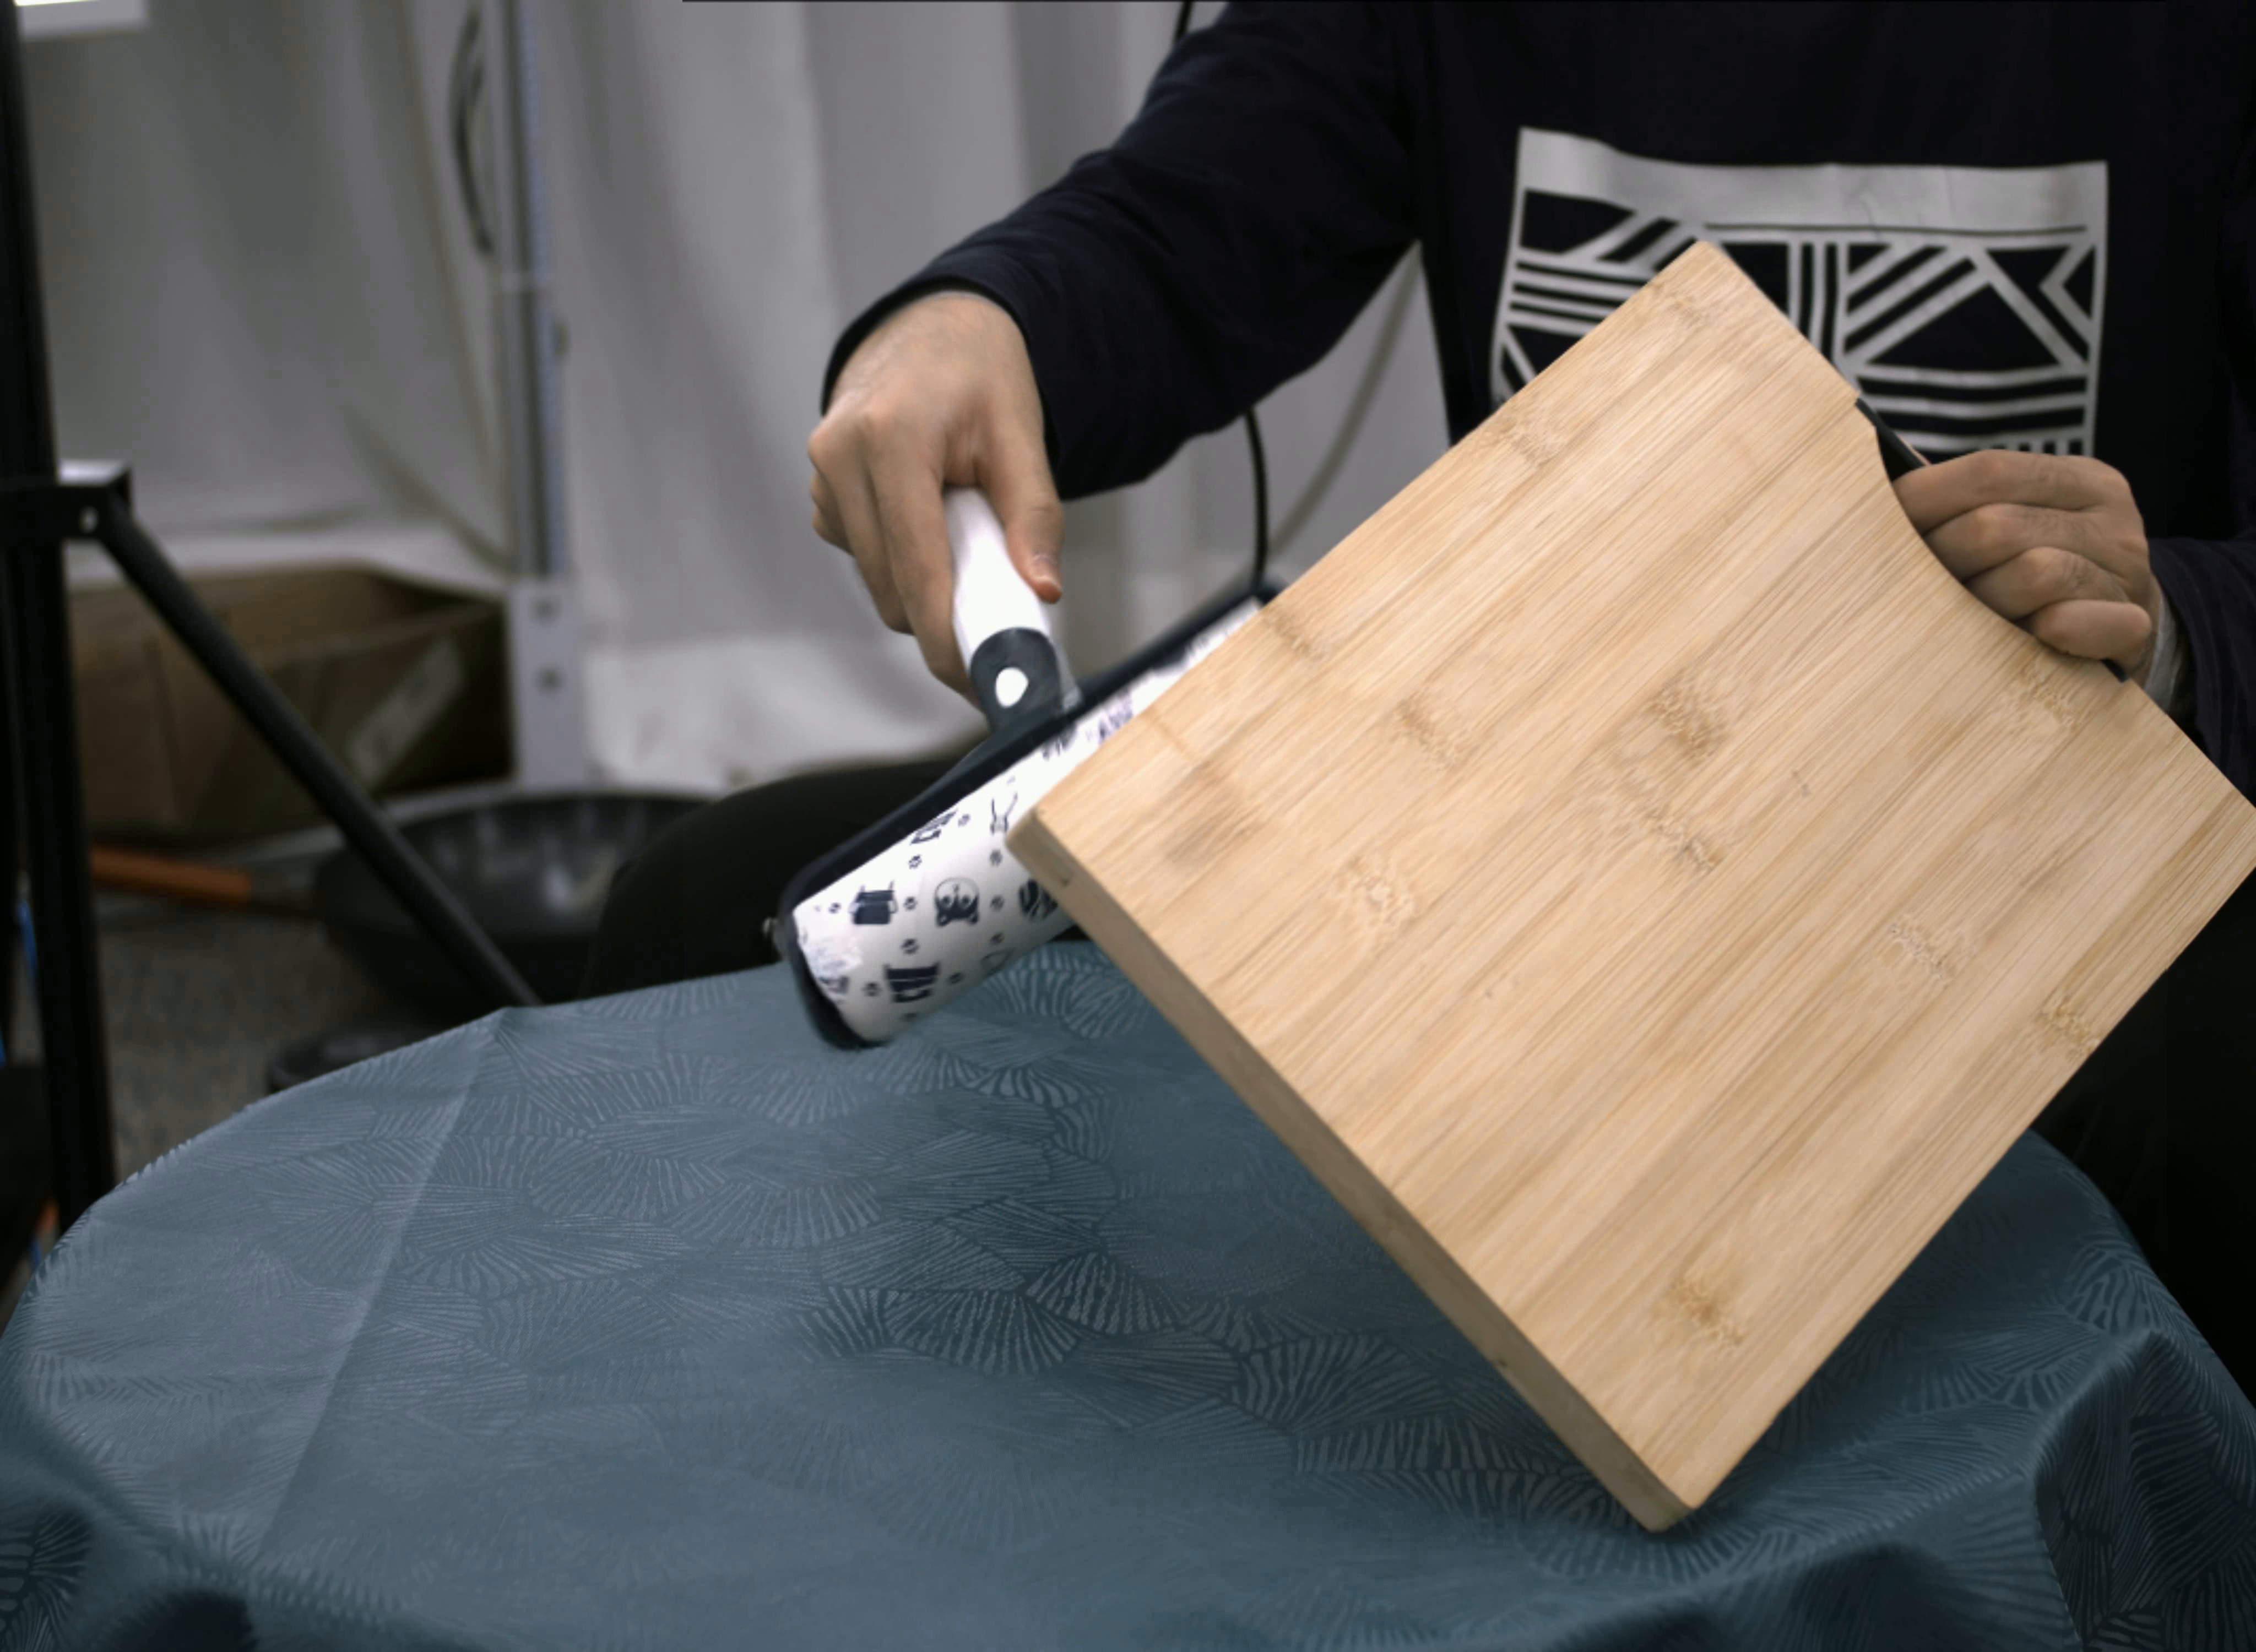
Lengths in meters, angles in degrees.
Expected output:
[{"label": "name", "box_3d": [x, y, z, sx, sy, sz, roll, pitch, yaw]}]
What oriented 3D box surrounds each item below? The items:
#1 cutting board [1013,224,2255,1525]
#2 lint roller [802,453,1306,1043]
[{"label": "cutting board", "box_3d": [0.151, 0.000, 1.420, 0.344, 0.251, 0.024, -41, -5, -41]}, {"label": "lint roller", "box_3d": [-0.035, -0.054, 1.567, 0.177, 0.049, 0.250, -41, 29, 12]}]
